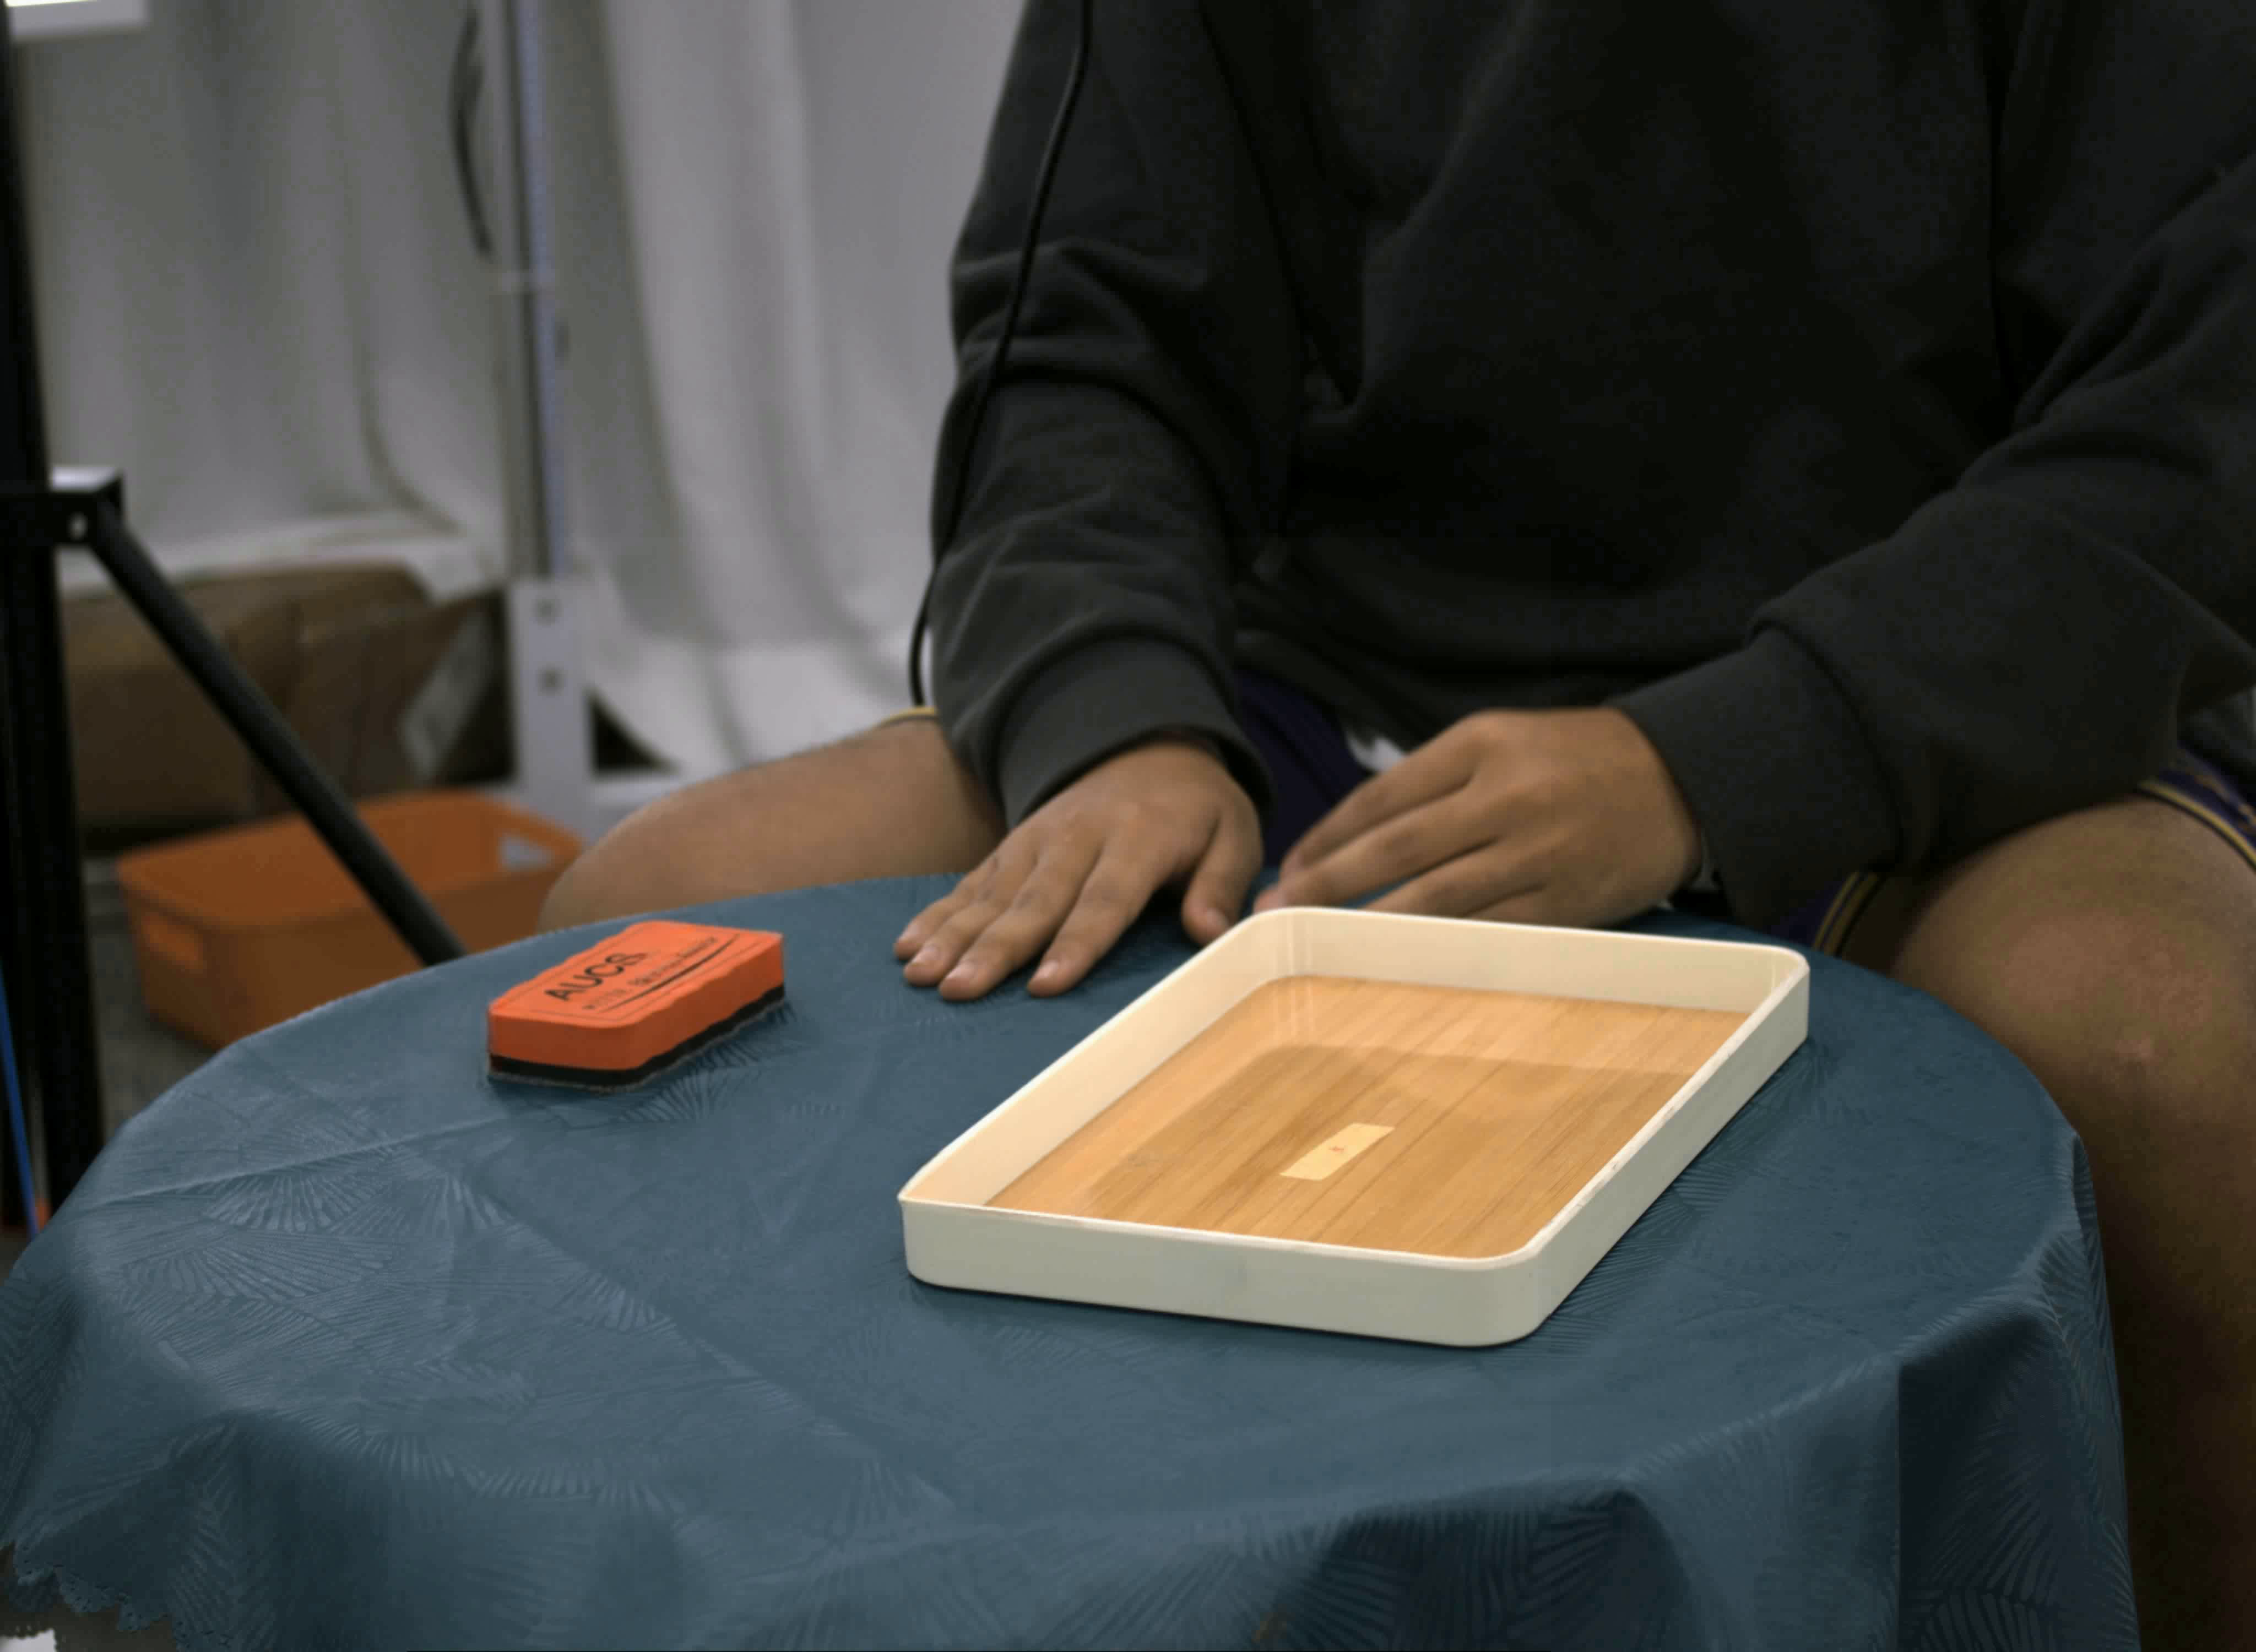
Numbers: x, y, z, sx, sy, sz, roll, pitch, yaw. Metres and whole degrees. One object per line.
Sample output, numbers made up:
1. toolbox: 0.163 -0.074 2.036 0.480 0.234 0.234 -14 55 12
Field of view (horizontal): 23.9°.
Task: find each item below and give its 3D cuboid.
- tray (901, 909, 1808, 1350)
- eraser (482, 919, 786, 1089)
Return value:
1. tray: 0.075 0.085 1.581 0.194 0.027 0.296 5 17 23
2. eraser: -0.159 0.057 1.723 0.060 0.023 0.106 5 18 27
